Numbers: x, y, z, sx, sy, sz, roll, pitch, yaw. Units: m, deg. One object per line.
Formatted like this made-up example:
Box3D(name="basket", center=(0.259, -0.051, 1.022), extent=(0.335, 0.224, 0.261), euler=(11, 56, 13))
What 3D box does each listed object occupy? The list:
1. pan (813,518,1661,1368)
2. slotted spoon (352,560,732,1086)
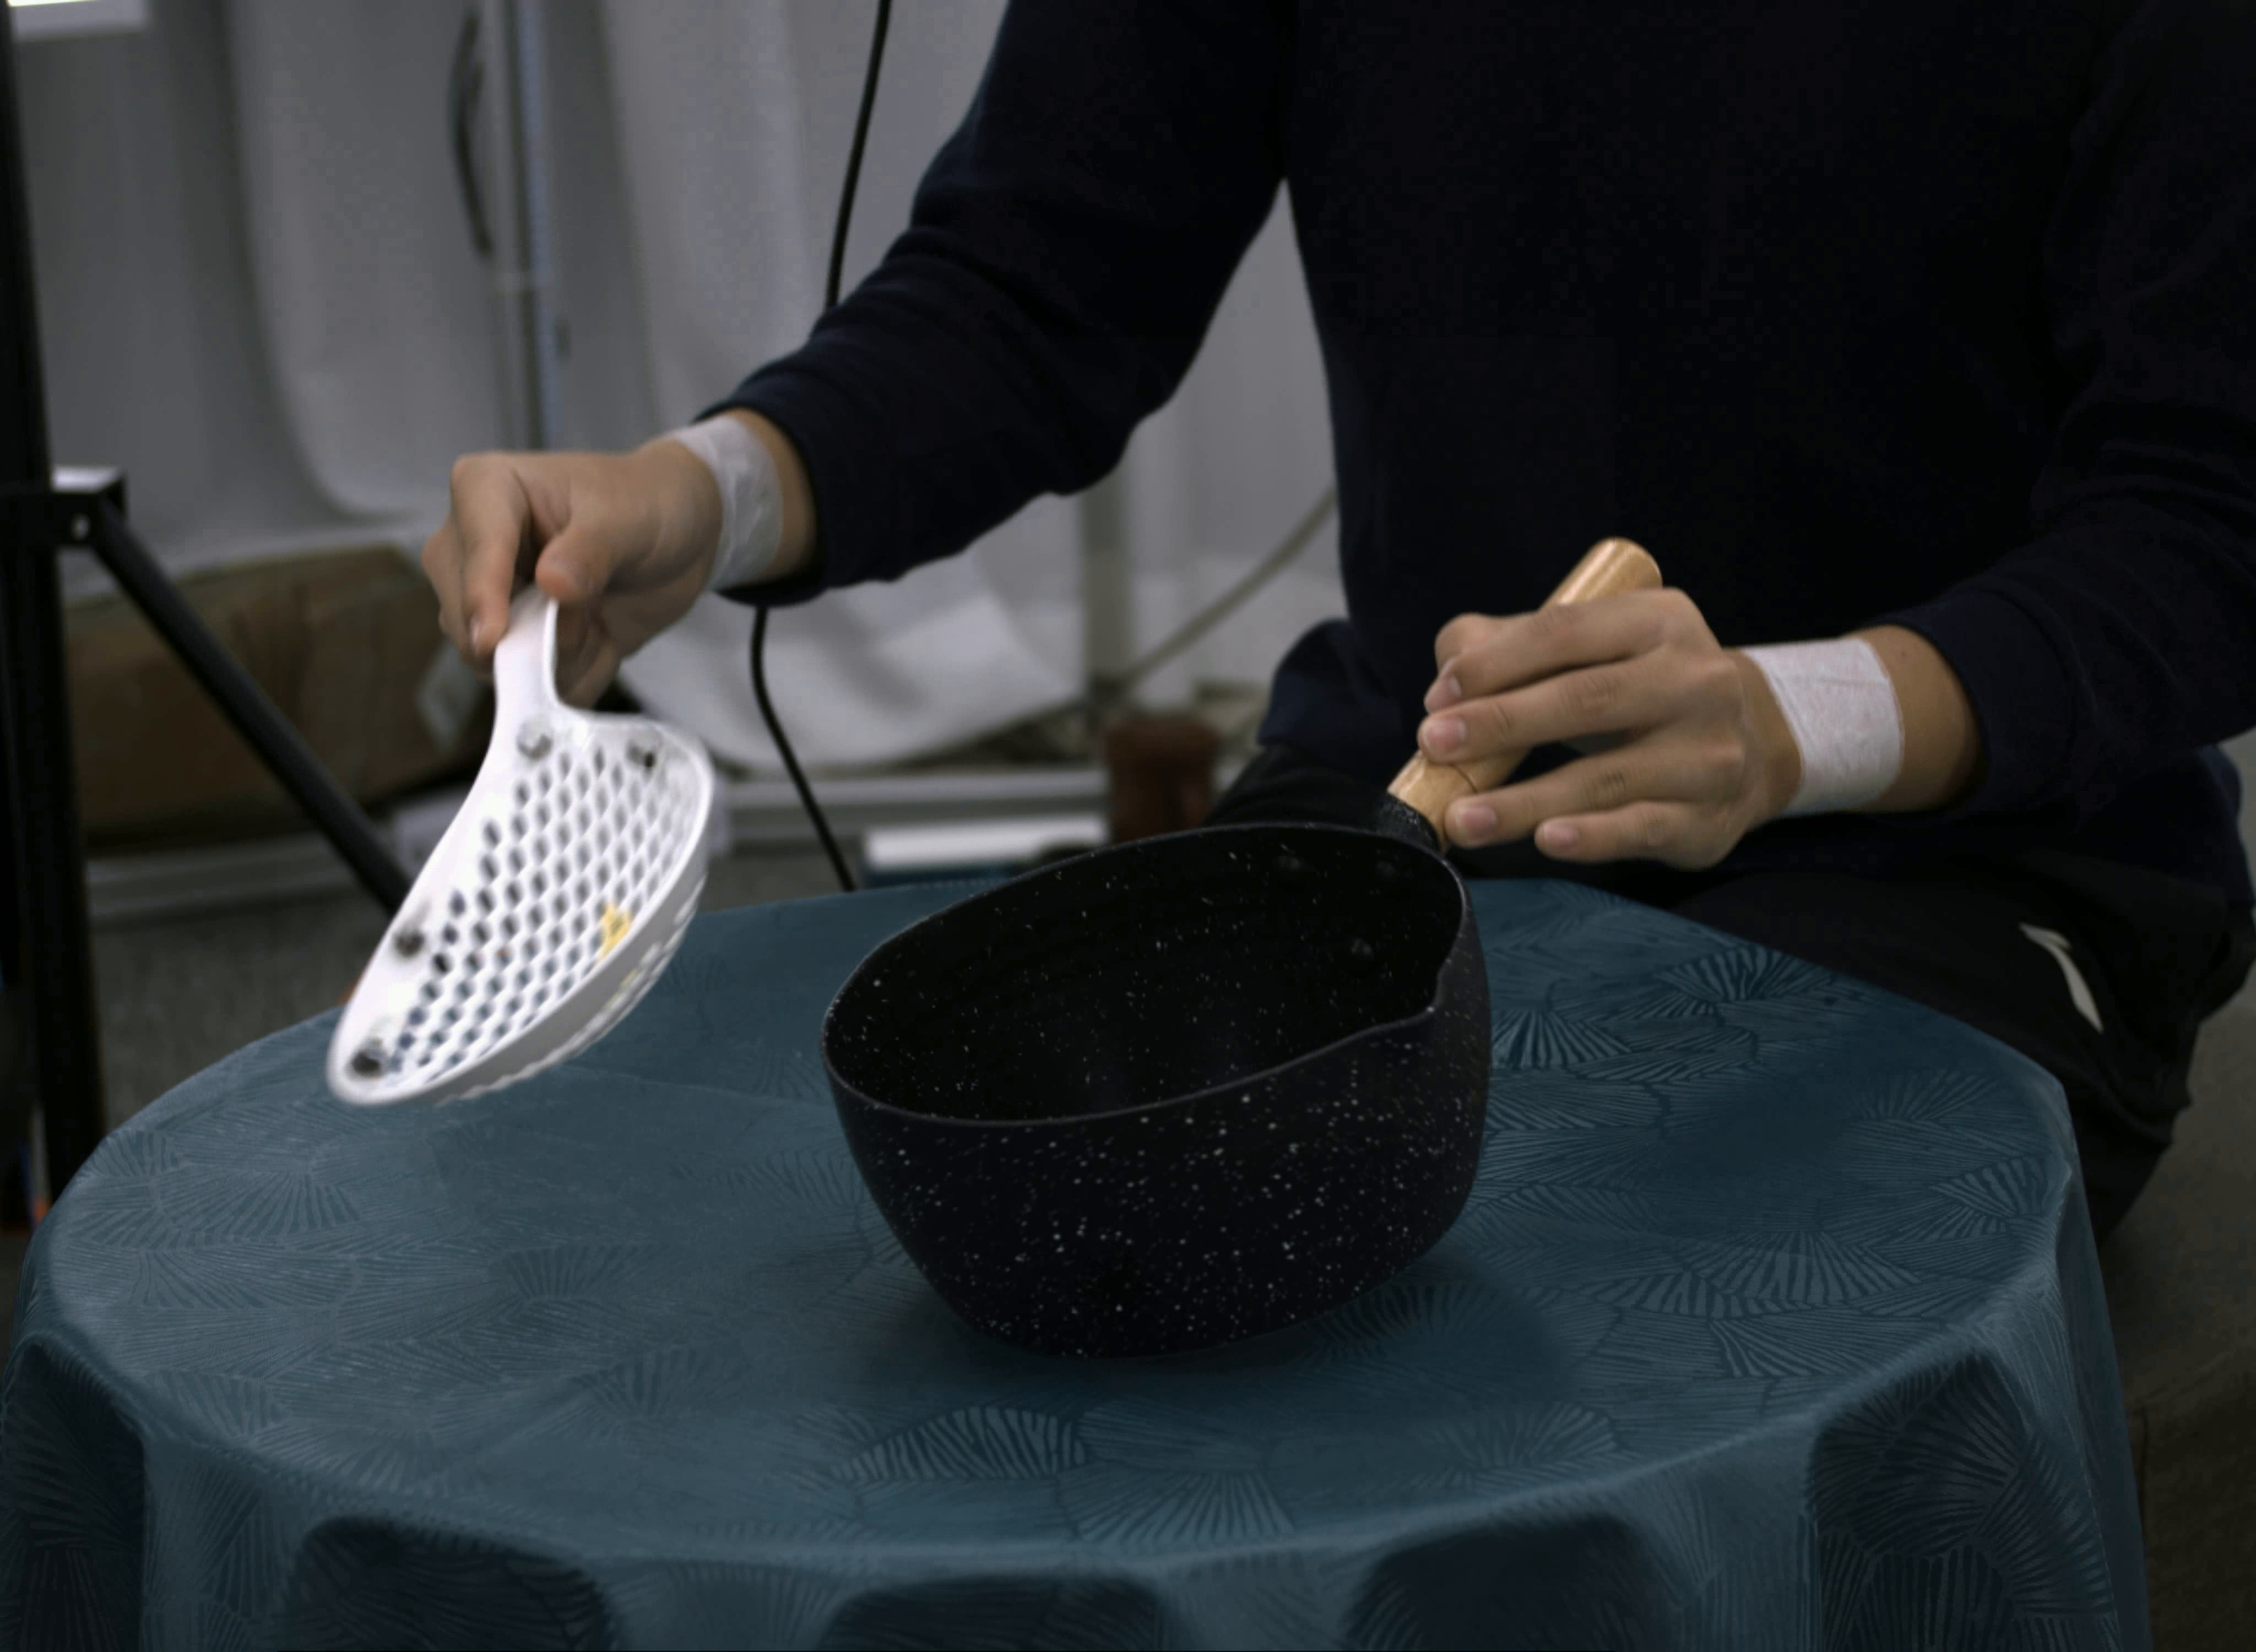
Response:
Box3D(name="pan", center=(0.058, 0.030, 1.512), extent=(0.212, 0.107, 0.337), euler=(3, 30, 42))
Box3D(name="slotted spoon", center=(-0.168, -0.021, 1.558), extent=(0.137, 0.049, 0.353), euler=(-40, 27, 11))
